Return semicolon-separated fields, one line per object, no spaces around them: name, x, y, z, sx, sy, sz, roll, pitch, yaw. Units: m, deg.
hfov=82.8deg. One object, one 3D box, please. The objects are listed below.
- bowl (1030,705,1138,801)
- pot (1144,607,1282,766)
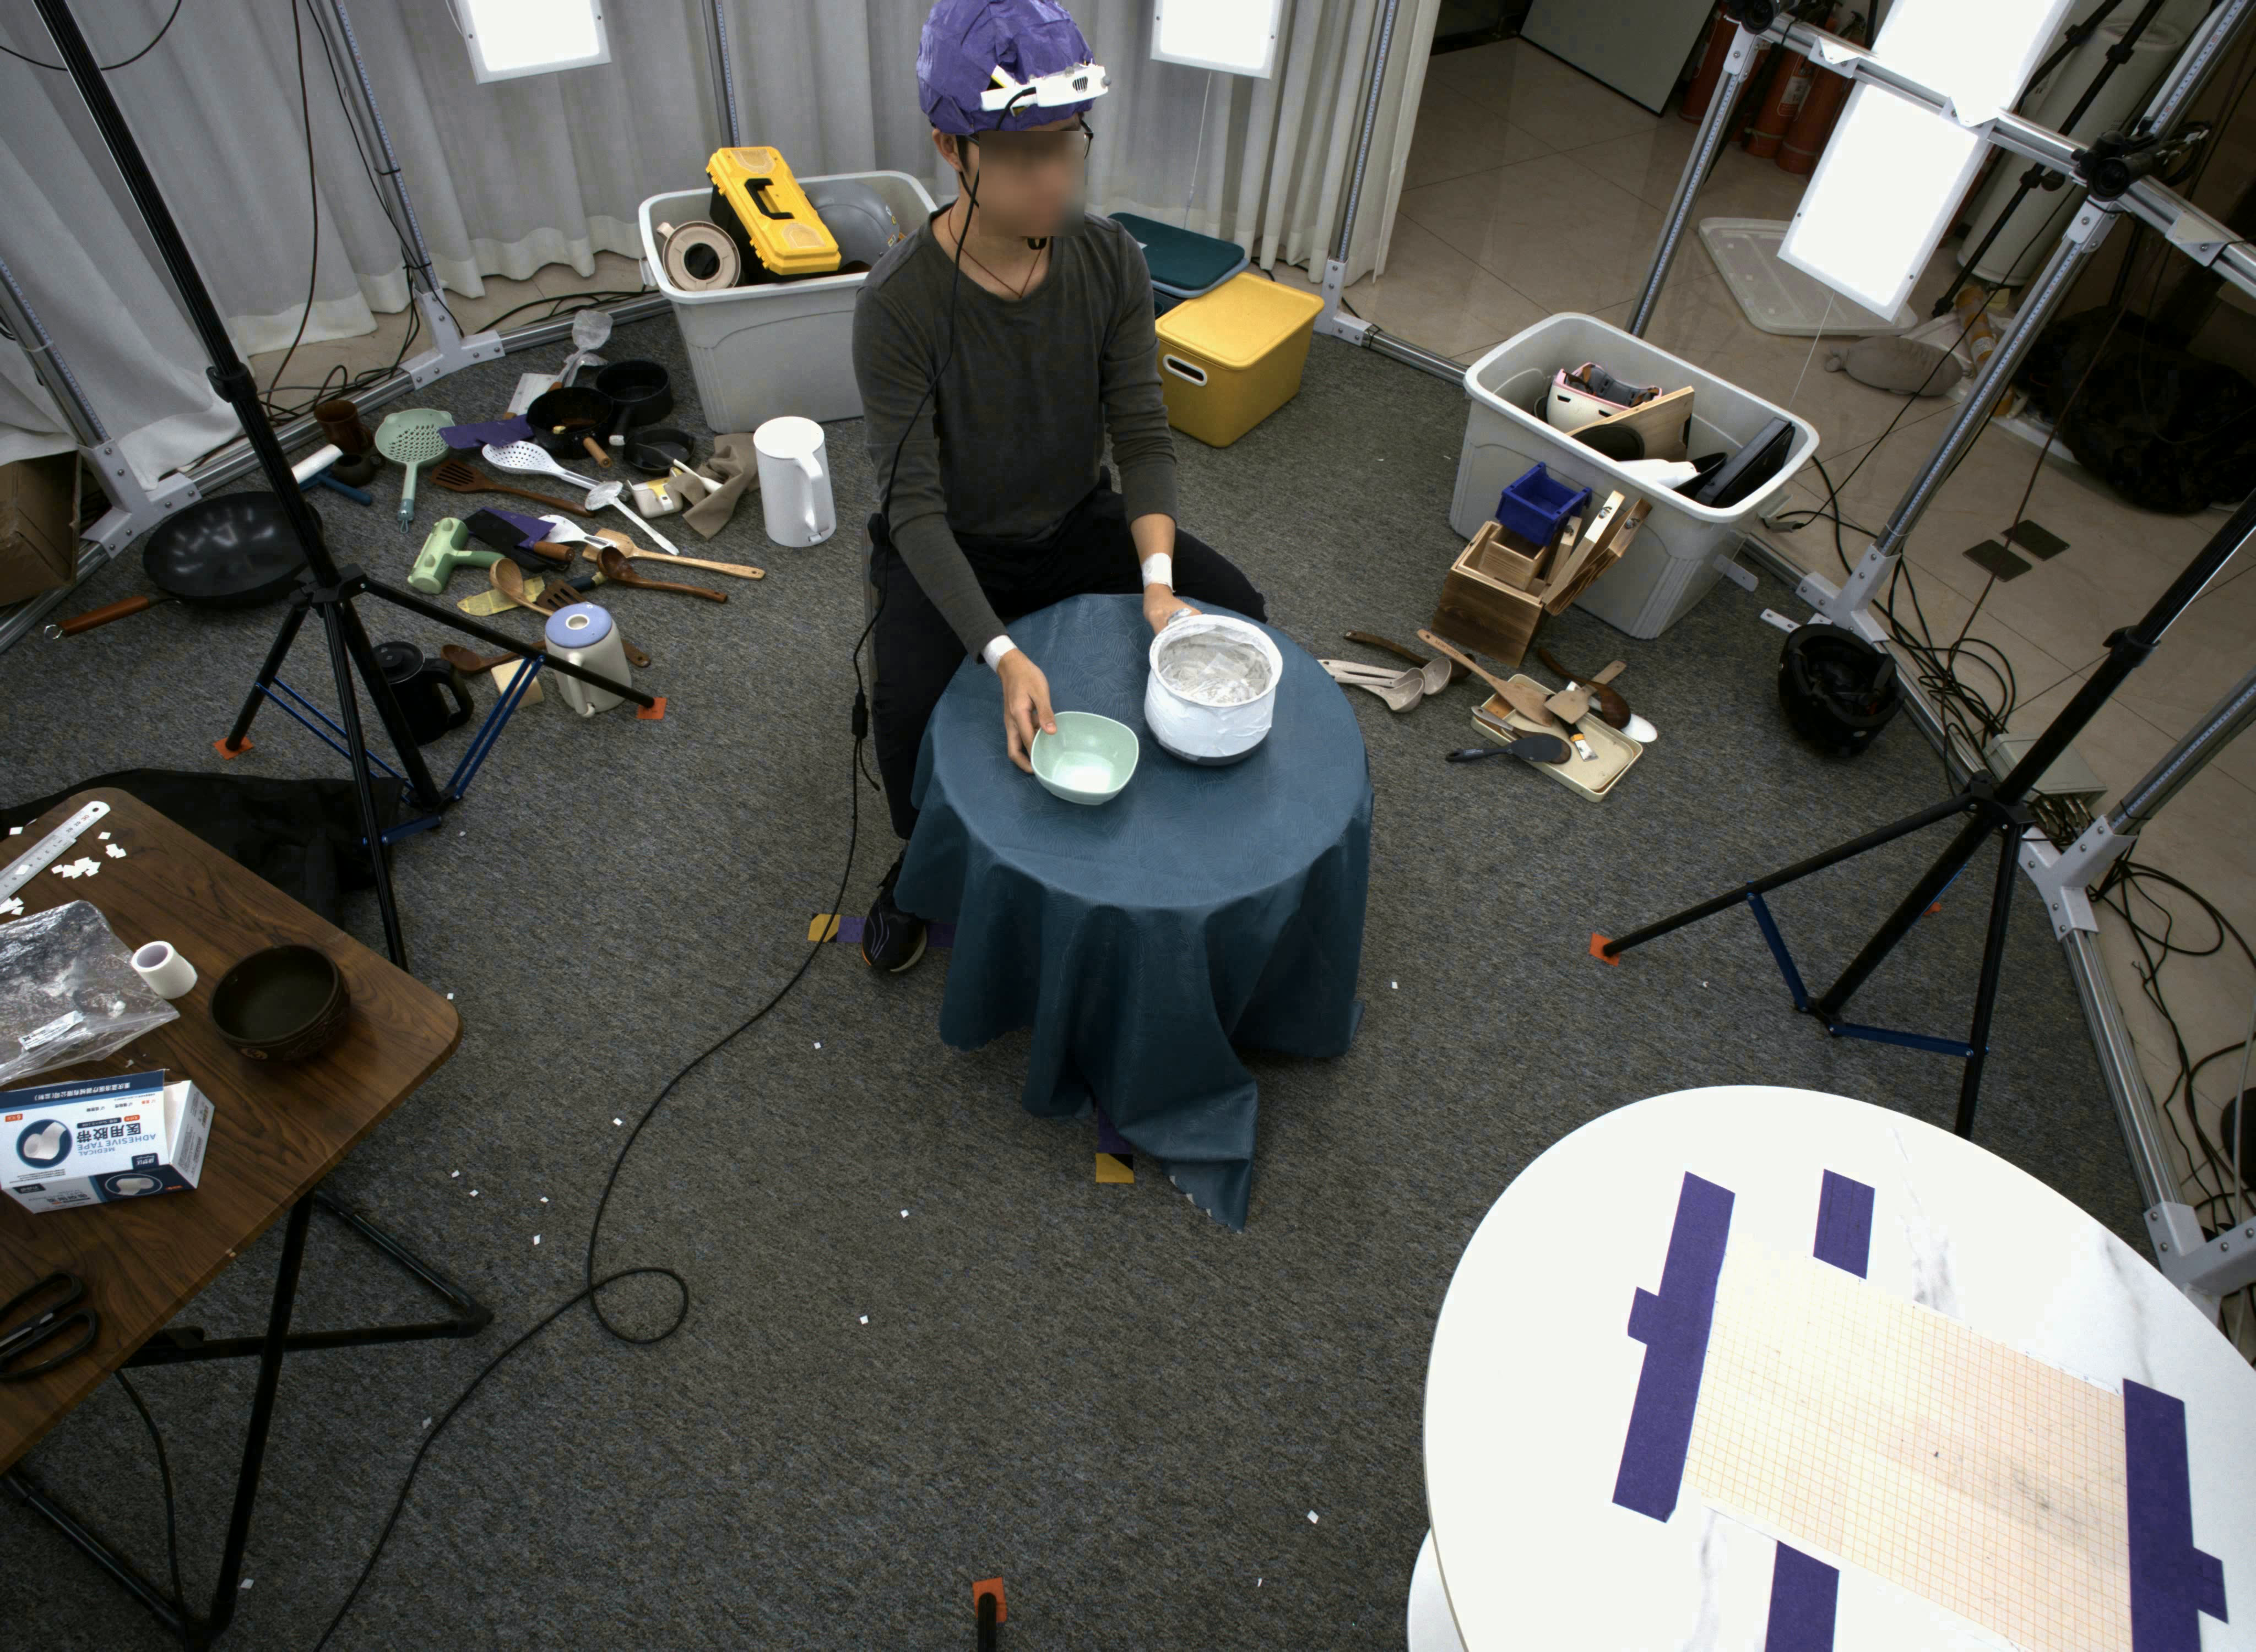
bowl;-0.061;-0.086;1.690;0.151;0.057;0.155;6;54;-9
pot;0.102;-0.201;1.760;0.179;0.133;0.239;-16;52;-17
